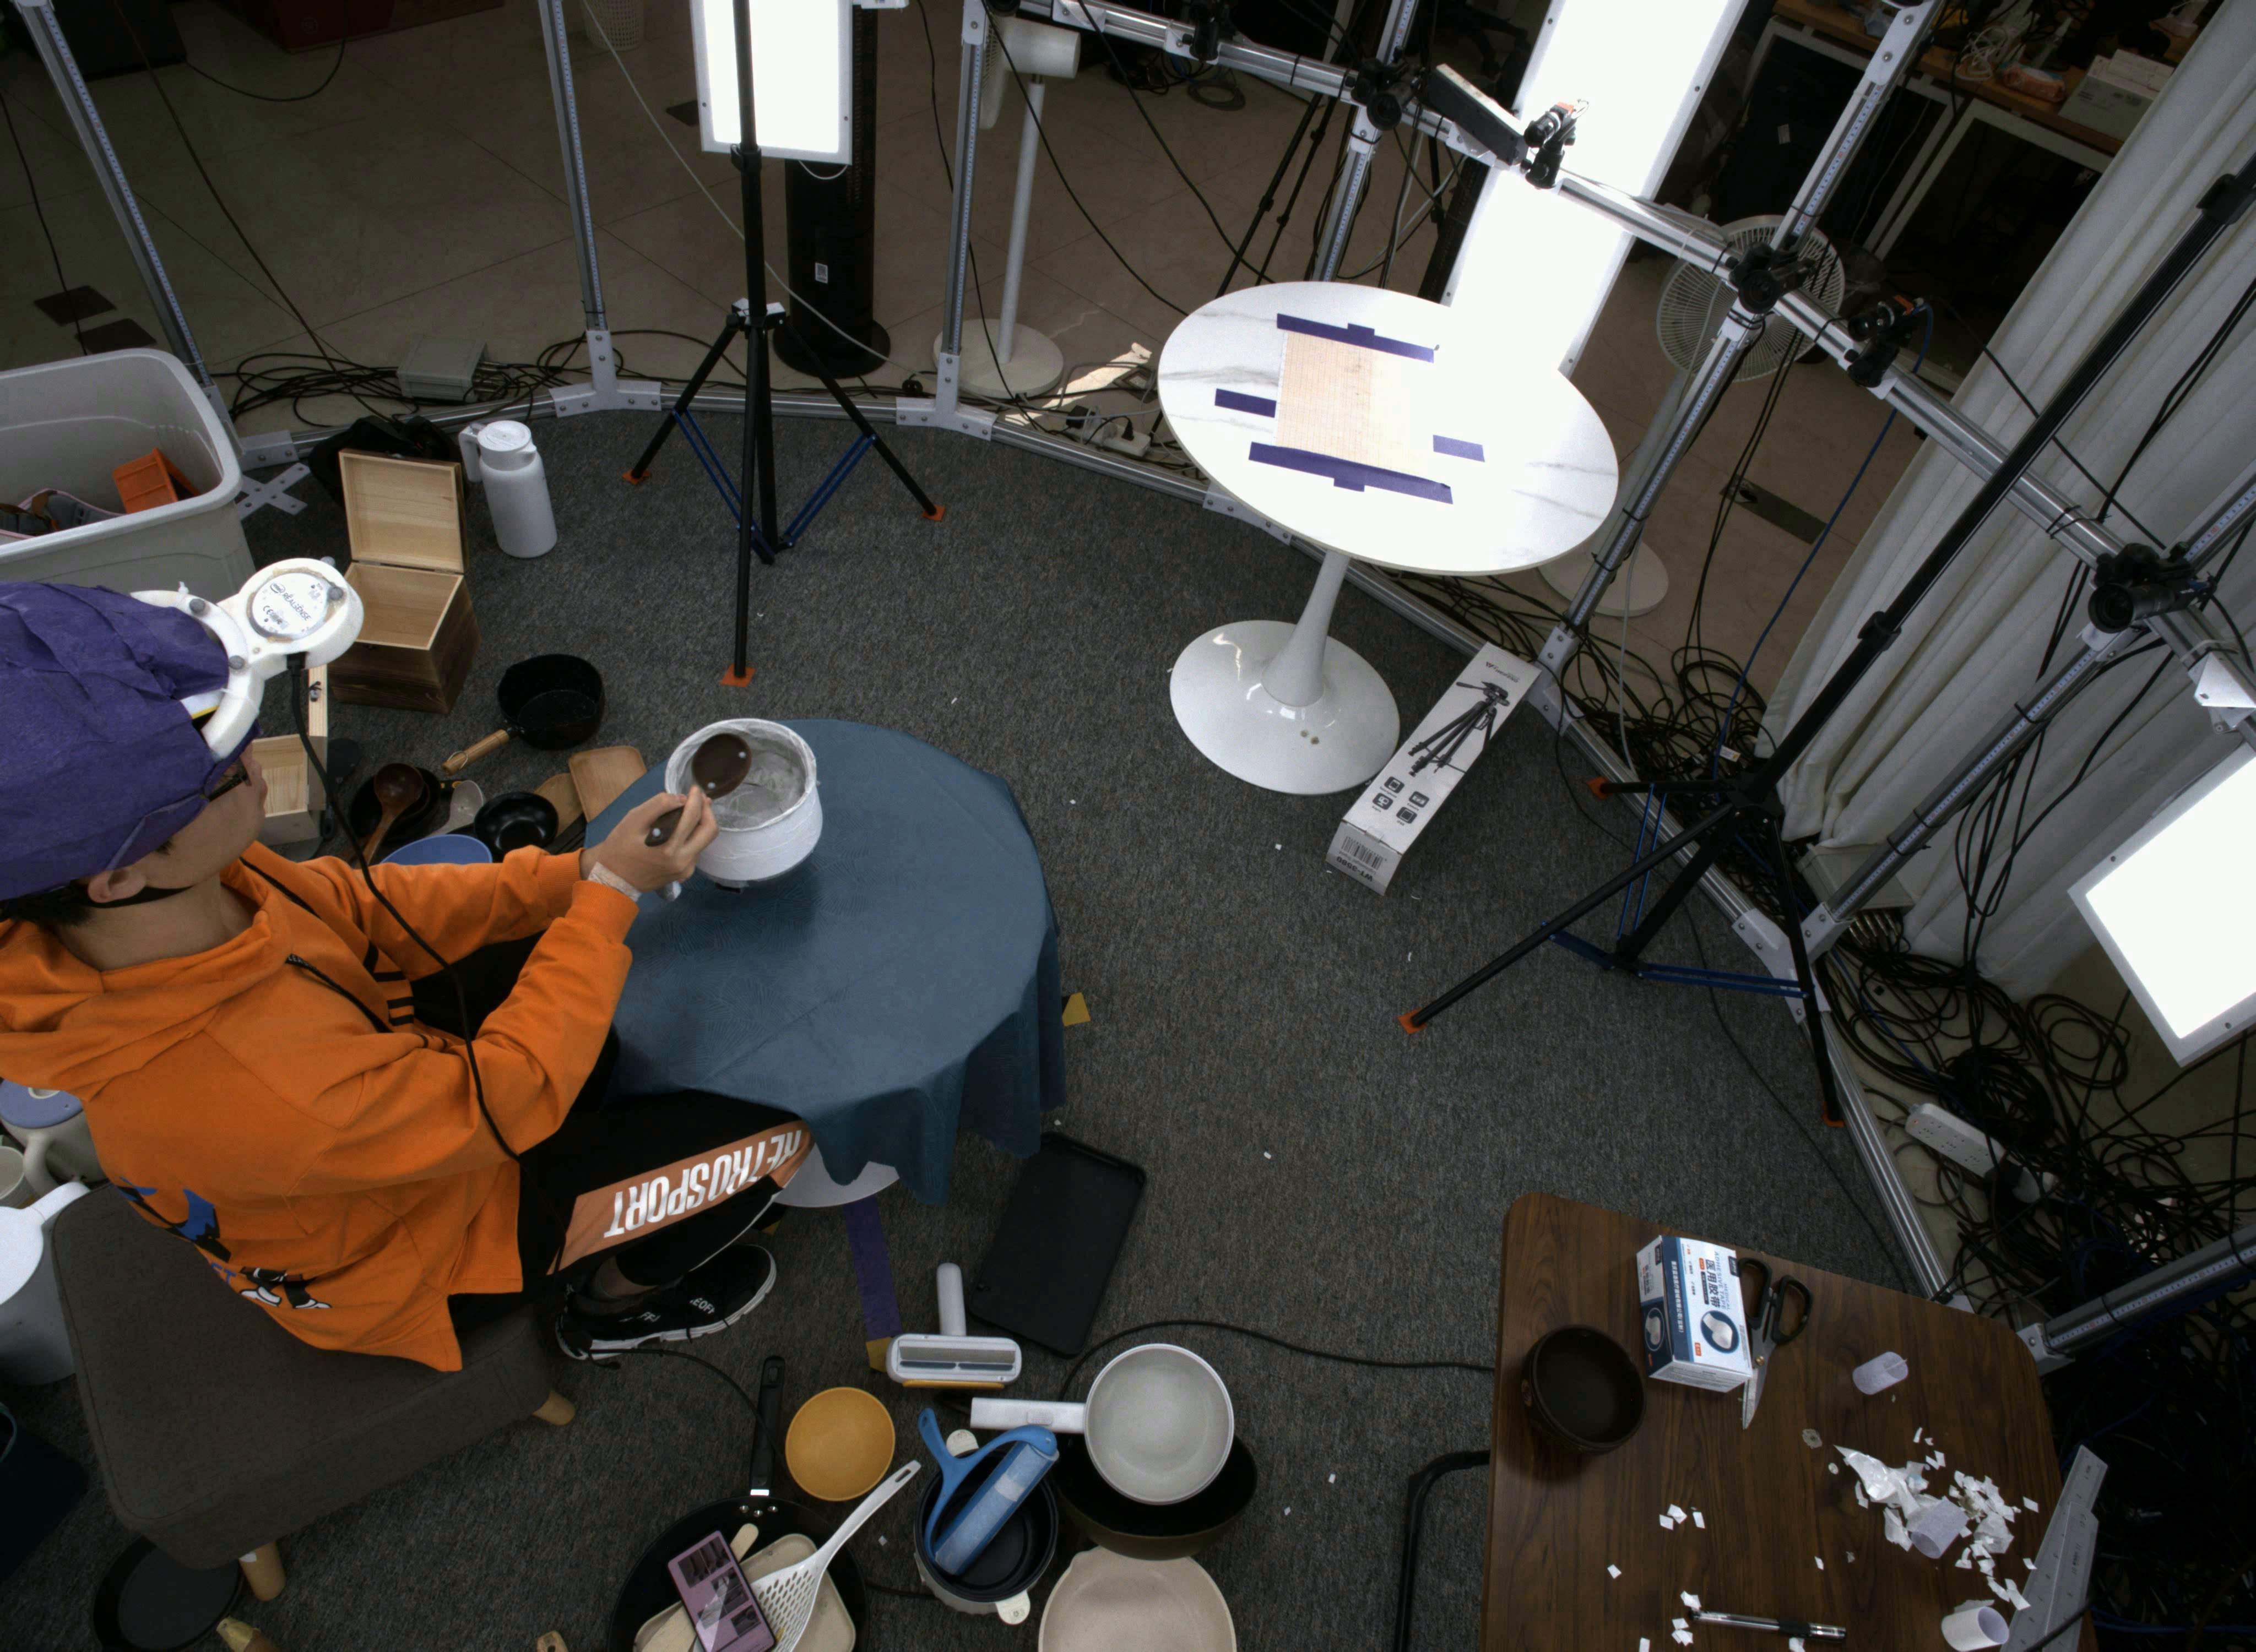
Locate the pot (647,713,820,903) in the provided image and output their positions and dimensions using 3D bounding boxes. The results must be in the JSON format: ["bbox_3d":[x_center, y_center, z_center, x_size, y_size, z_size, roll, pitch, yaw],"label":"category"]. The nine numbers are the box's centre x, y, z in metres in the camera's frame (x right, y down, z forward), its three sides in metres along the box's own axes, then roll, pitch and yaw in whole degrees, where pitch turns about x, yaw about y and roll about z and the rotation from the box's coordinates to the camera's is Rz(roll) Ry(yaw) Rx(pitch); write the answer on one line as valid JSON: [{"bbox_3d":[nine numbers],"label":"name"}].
[{"bbox_3d":[-0.482,-0.011,1.551,0.174,0.140,0.233,34,55,17],"label":"pot"}]

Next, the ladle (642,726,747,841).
[{"bbox_3d":[-0.485,-0.054,1.411,0.075,0.073,0.270,-17,13,6],"label":"ladle"}]
